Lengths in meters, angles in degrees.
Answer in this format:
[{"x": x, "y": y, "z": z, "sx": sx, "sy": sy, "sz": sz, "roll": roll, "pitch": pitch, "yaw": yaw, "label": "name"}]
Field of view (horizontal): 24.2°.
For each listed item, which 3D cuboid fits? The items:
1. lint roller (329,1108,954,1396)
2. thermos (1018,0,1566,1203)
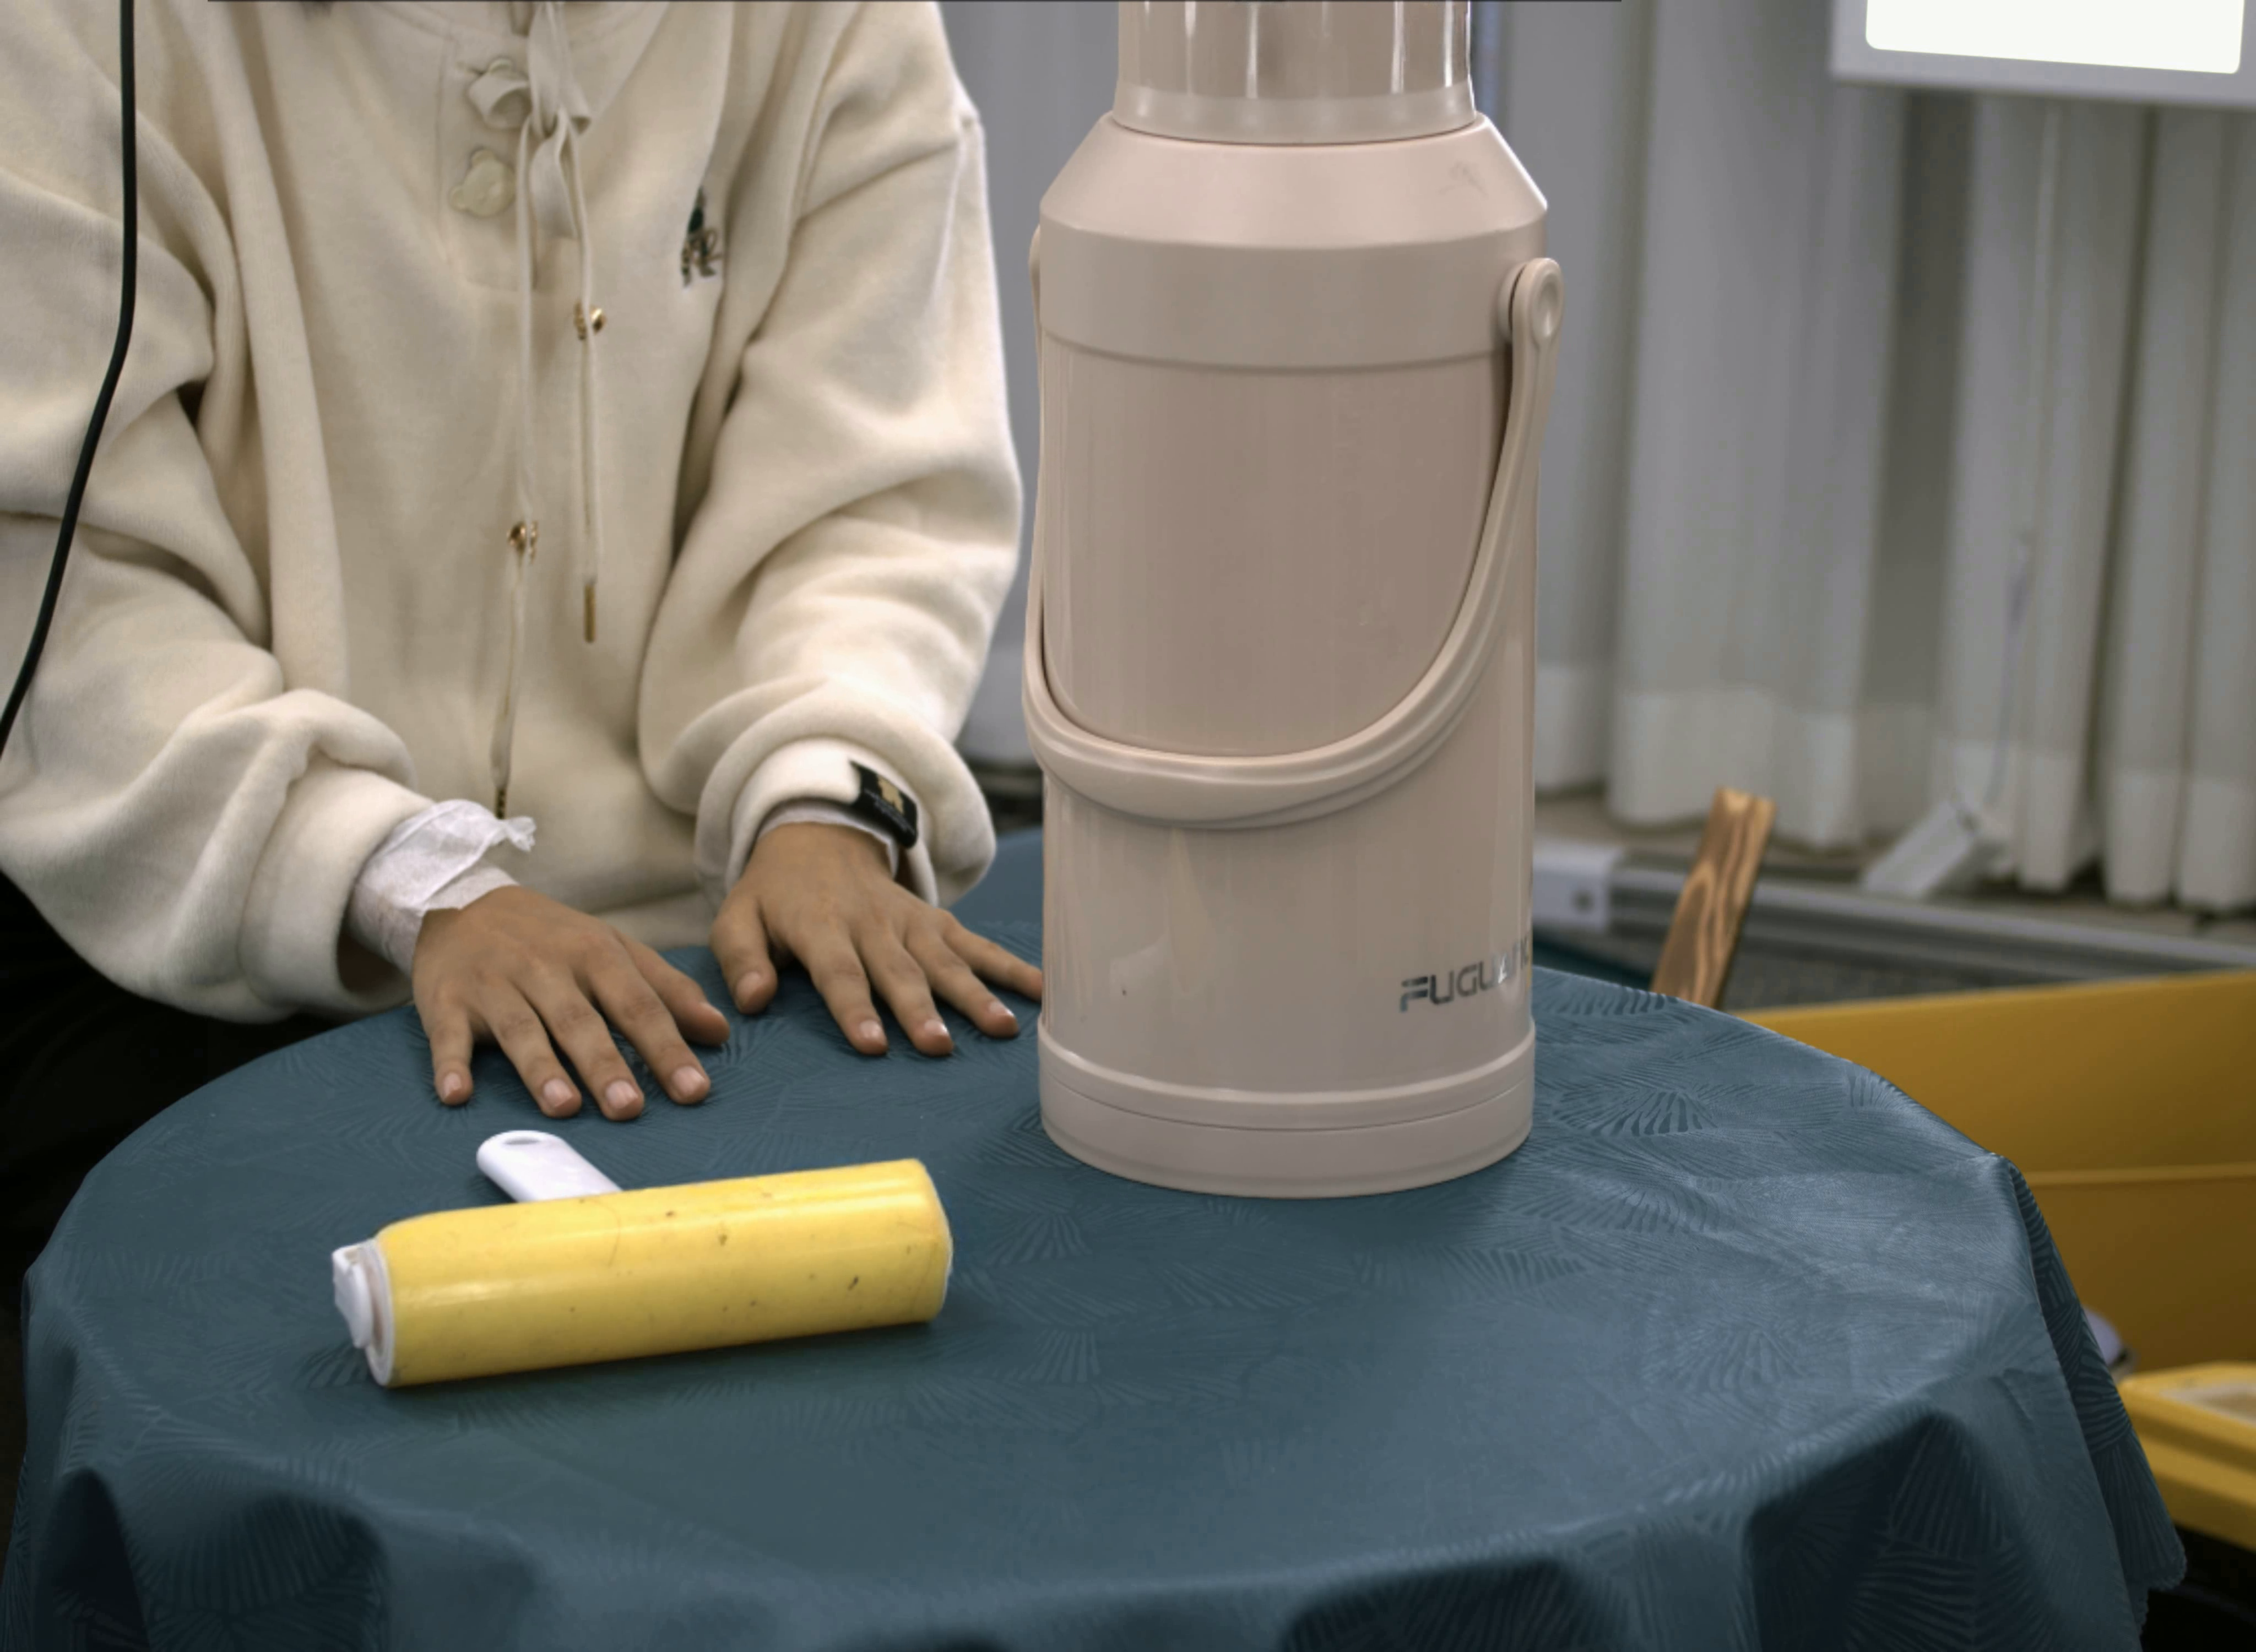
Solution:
[{"x": -0.159, "y": 0.105, "z": 1.541, "sx": 0.175, "sy": 0.052, "sz": 0.189, "roll": -5, "pitch": 22, "yaw": -21, "label": "lint roller"}, {"x": 0.058, "y": -0.100, "z": 1.643, "sx": 0.173, "sy": 0.409, "sz": 0.207, "roll": 9, "pitch": 18, "yaw": 29, "label": "thermos"}]
